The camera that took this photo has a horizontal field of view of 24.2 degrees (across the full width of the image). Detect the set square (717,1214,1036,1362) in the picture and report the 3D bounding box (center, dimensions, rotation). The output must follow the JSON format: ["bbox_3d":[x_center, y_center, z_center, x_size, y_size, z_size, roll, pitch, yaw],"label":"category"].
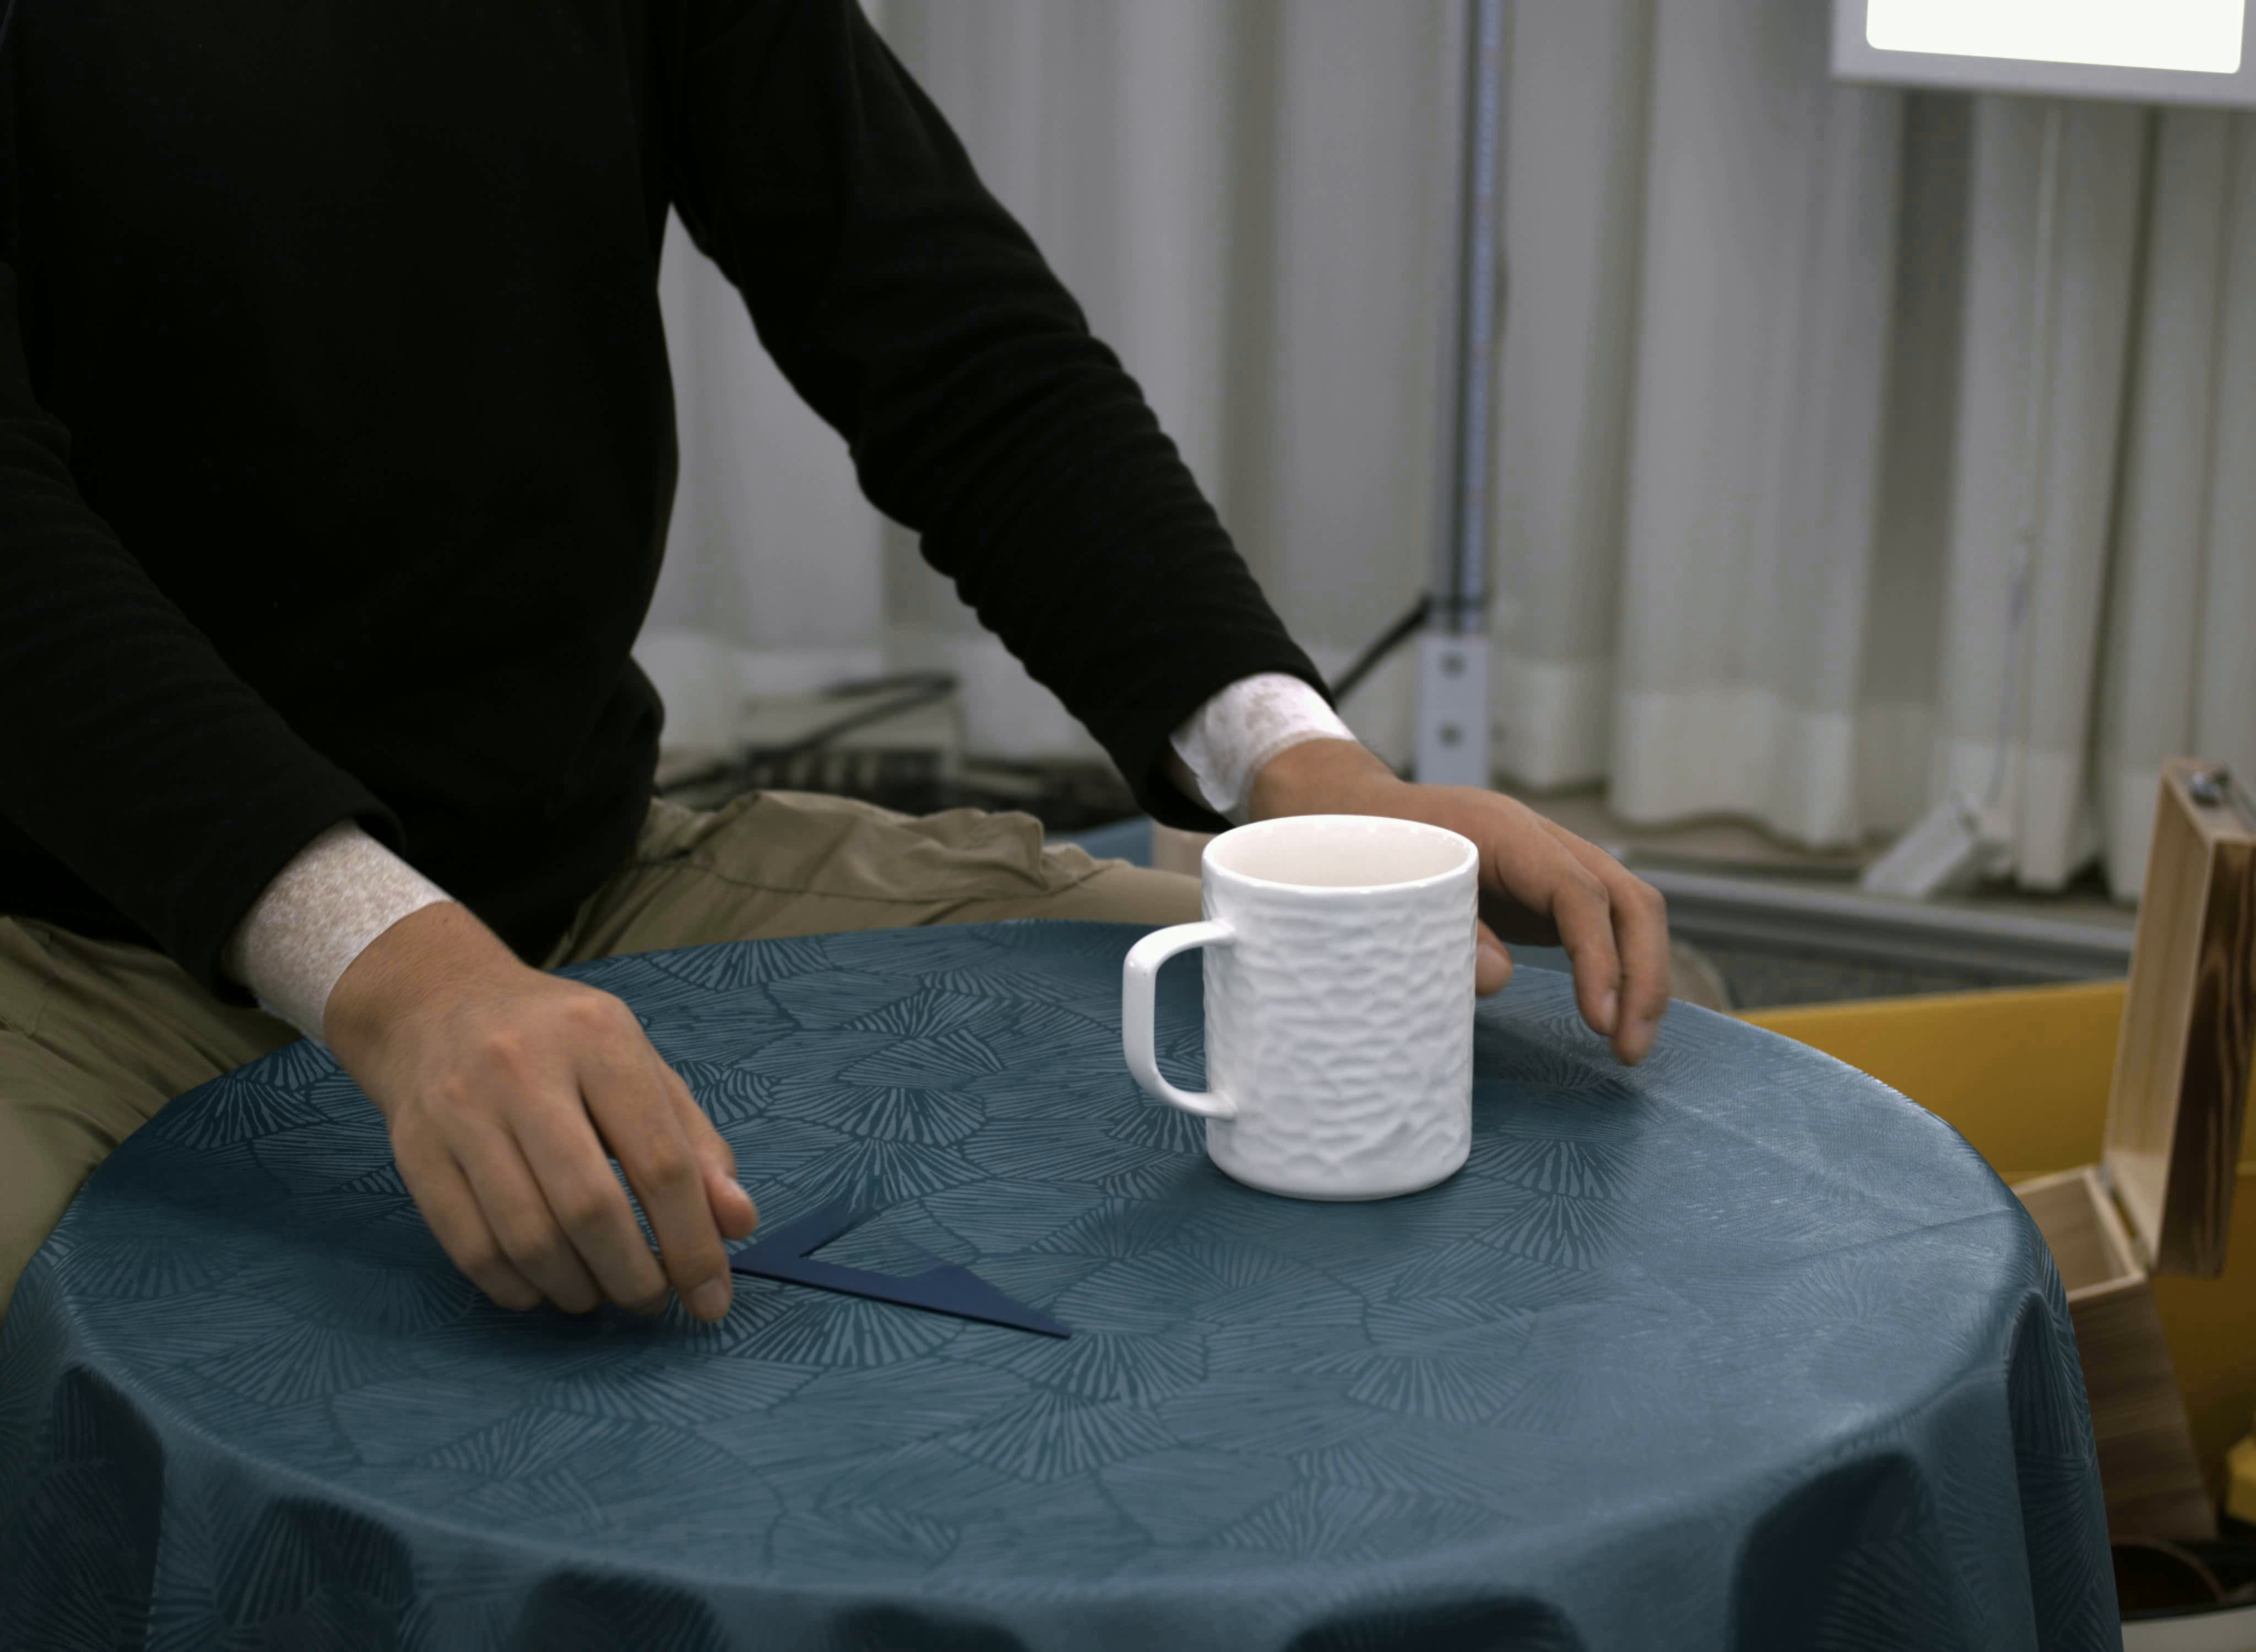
[{"bbox_3d":[-0.077,0.136,1.528,0.061,0.006,0.130,-8,18,-26],"label":"set square"}]

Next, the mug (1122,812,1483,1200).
[{"bbox_3d":[0.052,0.058,1.627,0.119,0.103,0.084,-8,18,-29],"label":"mug"}]
